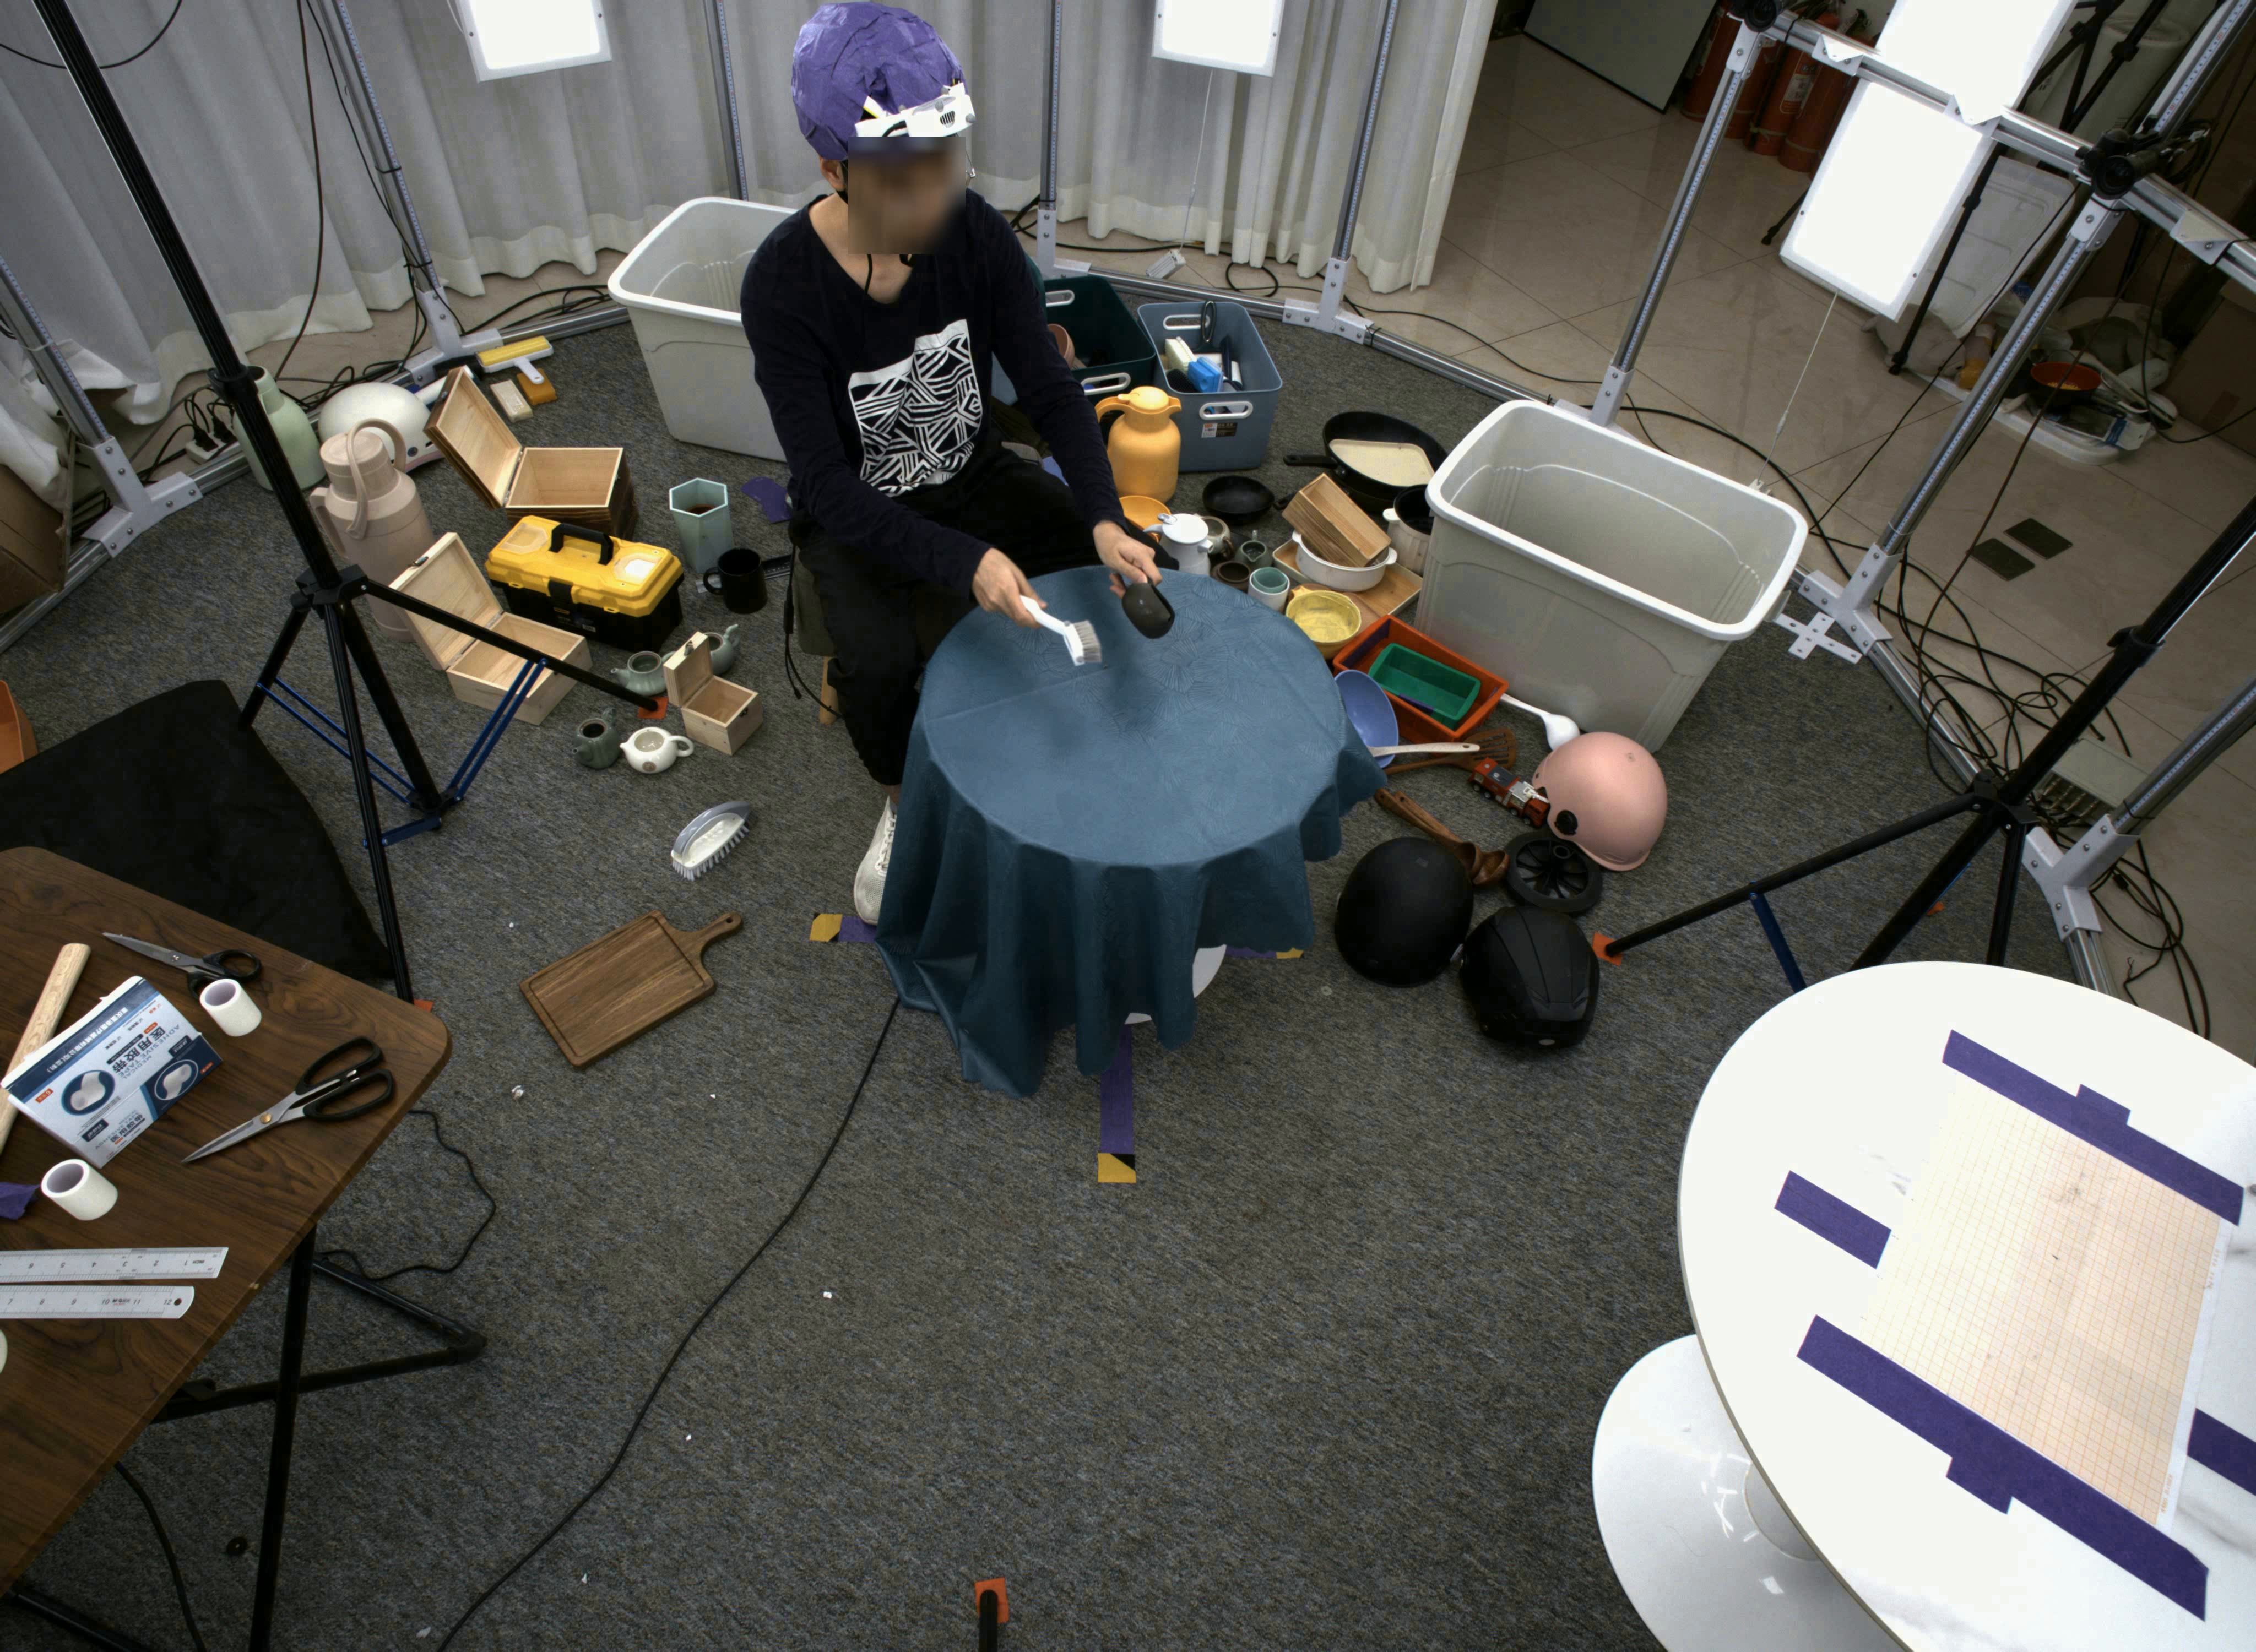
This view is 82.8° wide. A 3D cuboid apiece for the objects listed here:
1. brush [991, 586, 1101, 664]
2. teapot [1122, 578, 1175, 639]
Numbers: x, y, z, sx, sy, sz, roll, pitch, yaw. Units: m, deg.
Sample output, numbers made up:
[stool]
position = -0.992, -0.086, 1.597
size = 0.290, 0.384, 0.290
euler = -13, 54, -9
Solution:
[brush]
position = -0.112, -0.289, 1.794
size = 0.050, 0.033, 0.248
euler = -25, 42, -25
[teapot]
position = 0.026, -0.310, 1.808
size = 0.052, 0.081, 0.117
euler = -38, 44, 17
